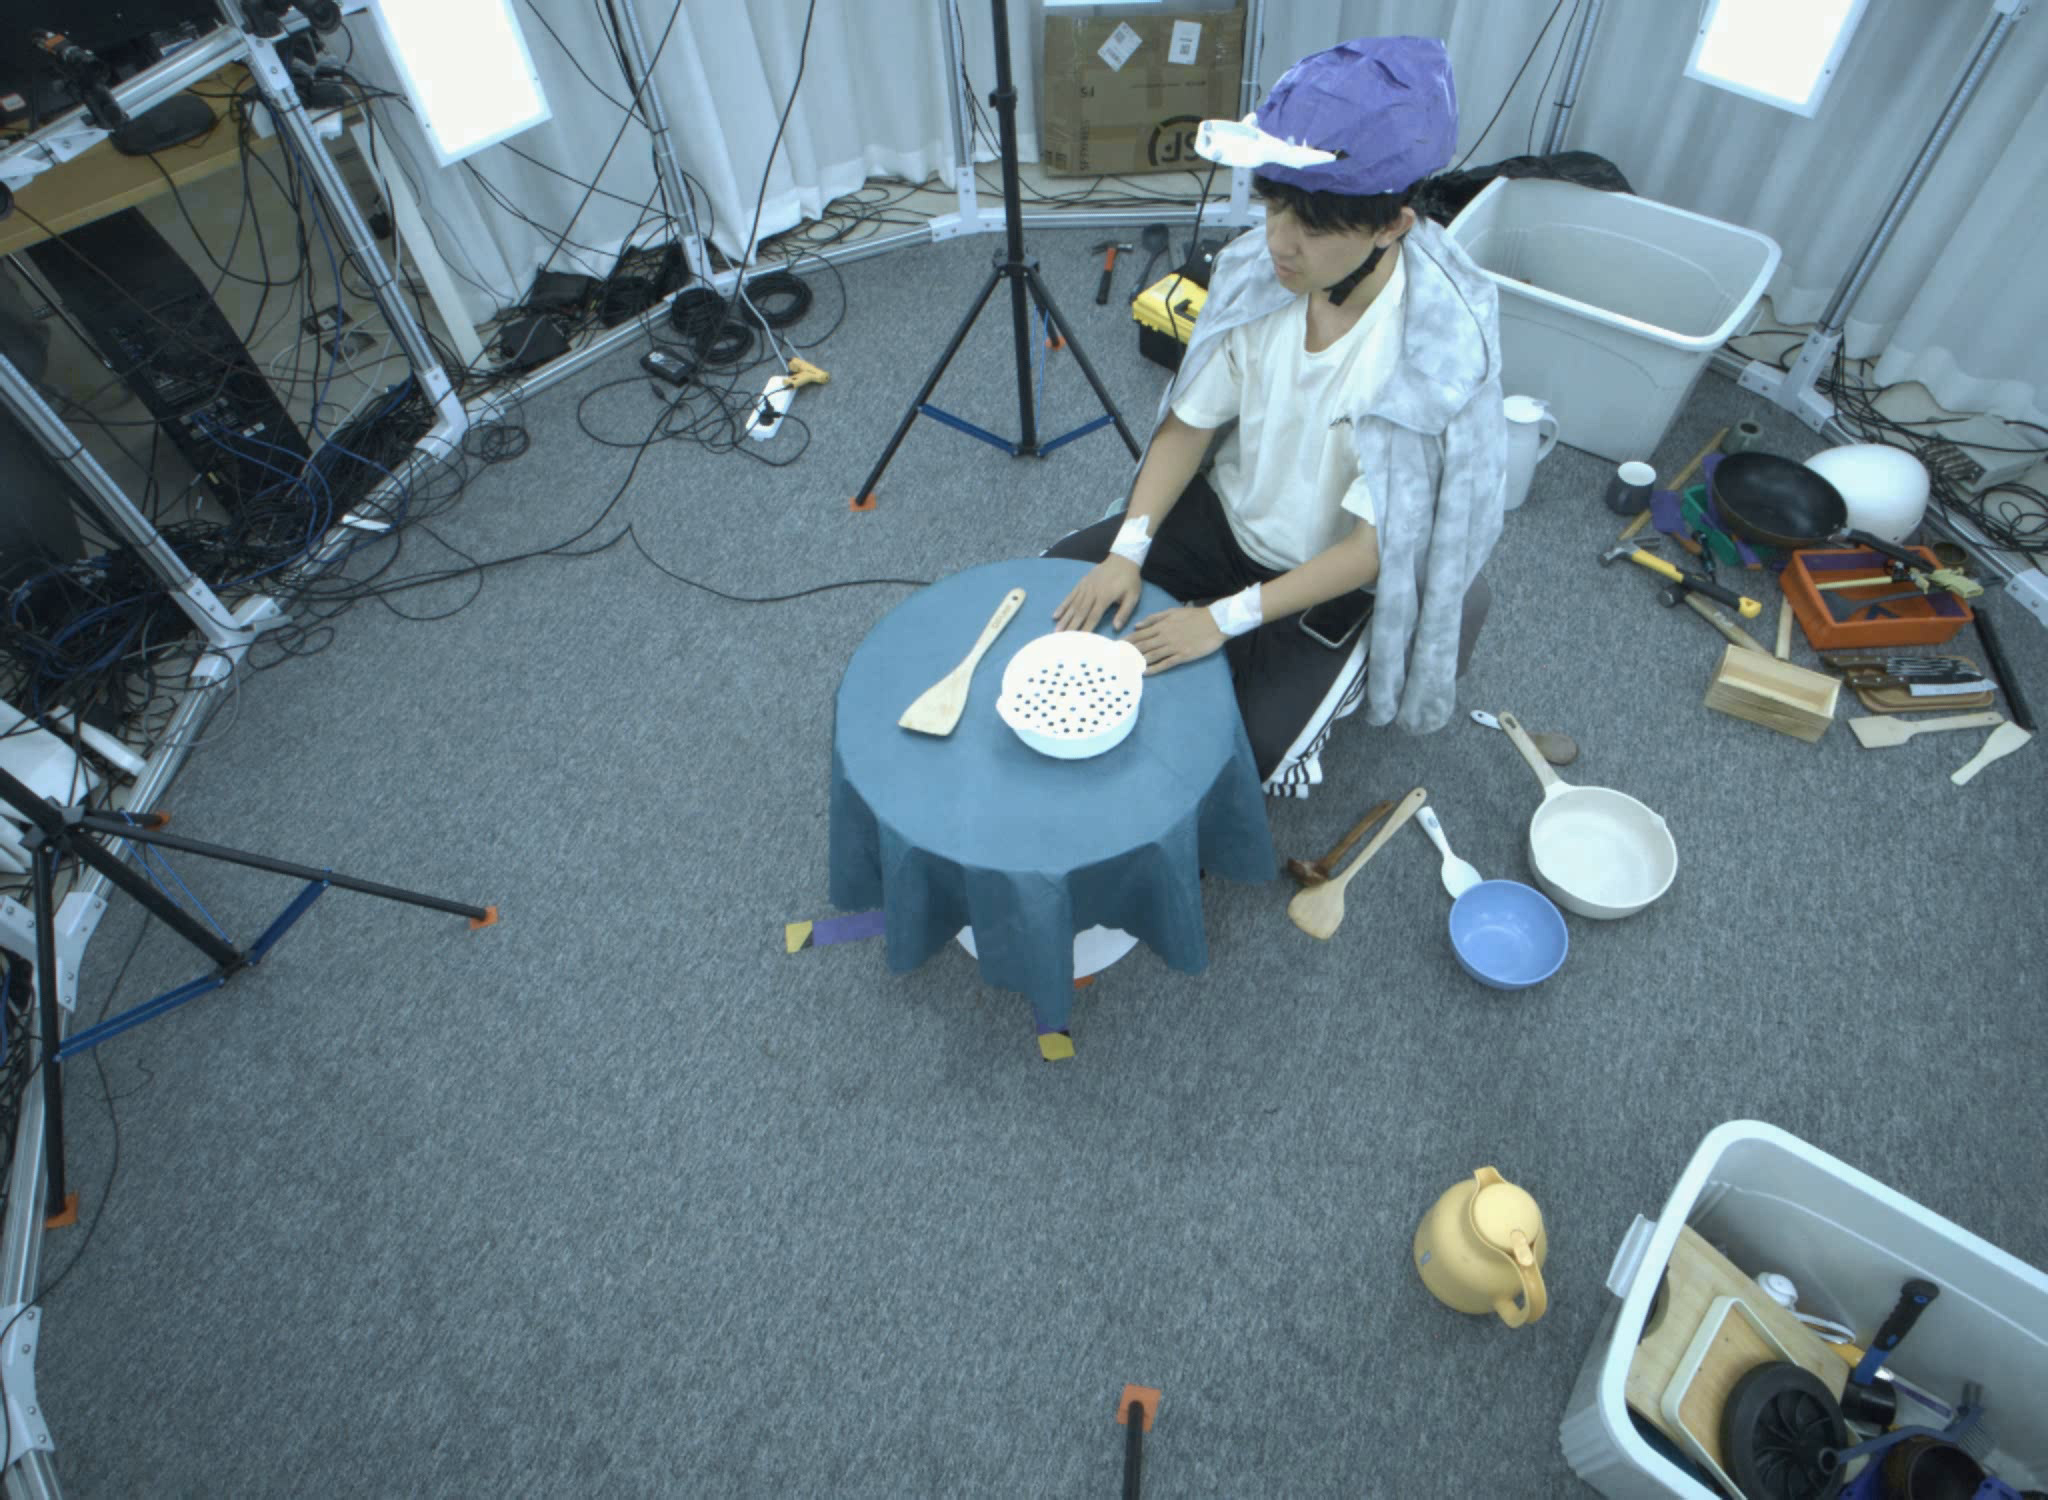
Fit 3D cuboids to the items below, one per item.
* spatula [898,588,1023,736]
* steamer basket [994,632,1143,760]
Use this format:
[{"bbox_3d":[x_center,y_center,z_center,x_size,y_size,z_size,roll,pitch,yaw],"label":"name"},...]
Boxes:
[{"bbox_3d":[-0.081,-0.140,1.881,0.079,0.017,0.328,22,58,16],"label":"spatula"},{"bbox_3d":[0.066,-0.077,1.802,0.232,0.070,0.198,-26,59,-16],"label":"steamer basket"}]
